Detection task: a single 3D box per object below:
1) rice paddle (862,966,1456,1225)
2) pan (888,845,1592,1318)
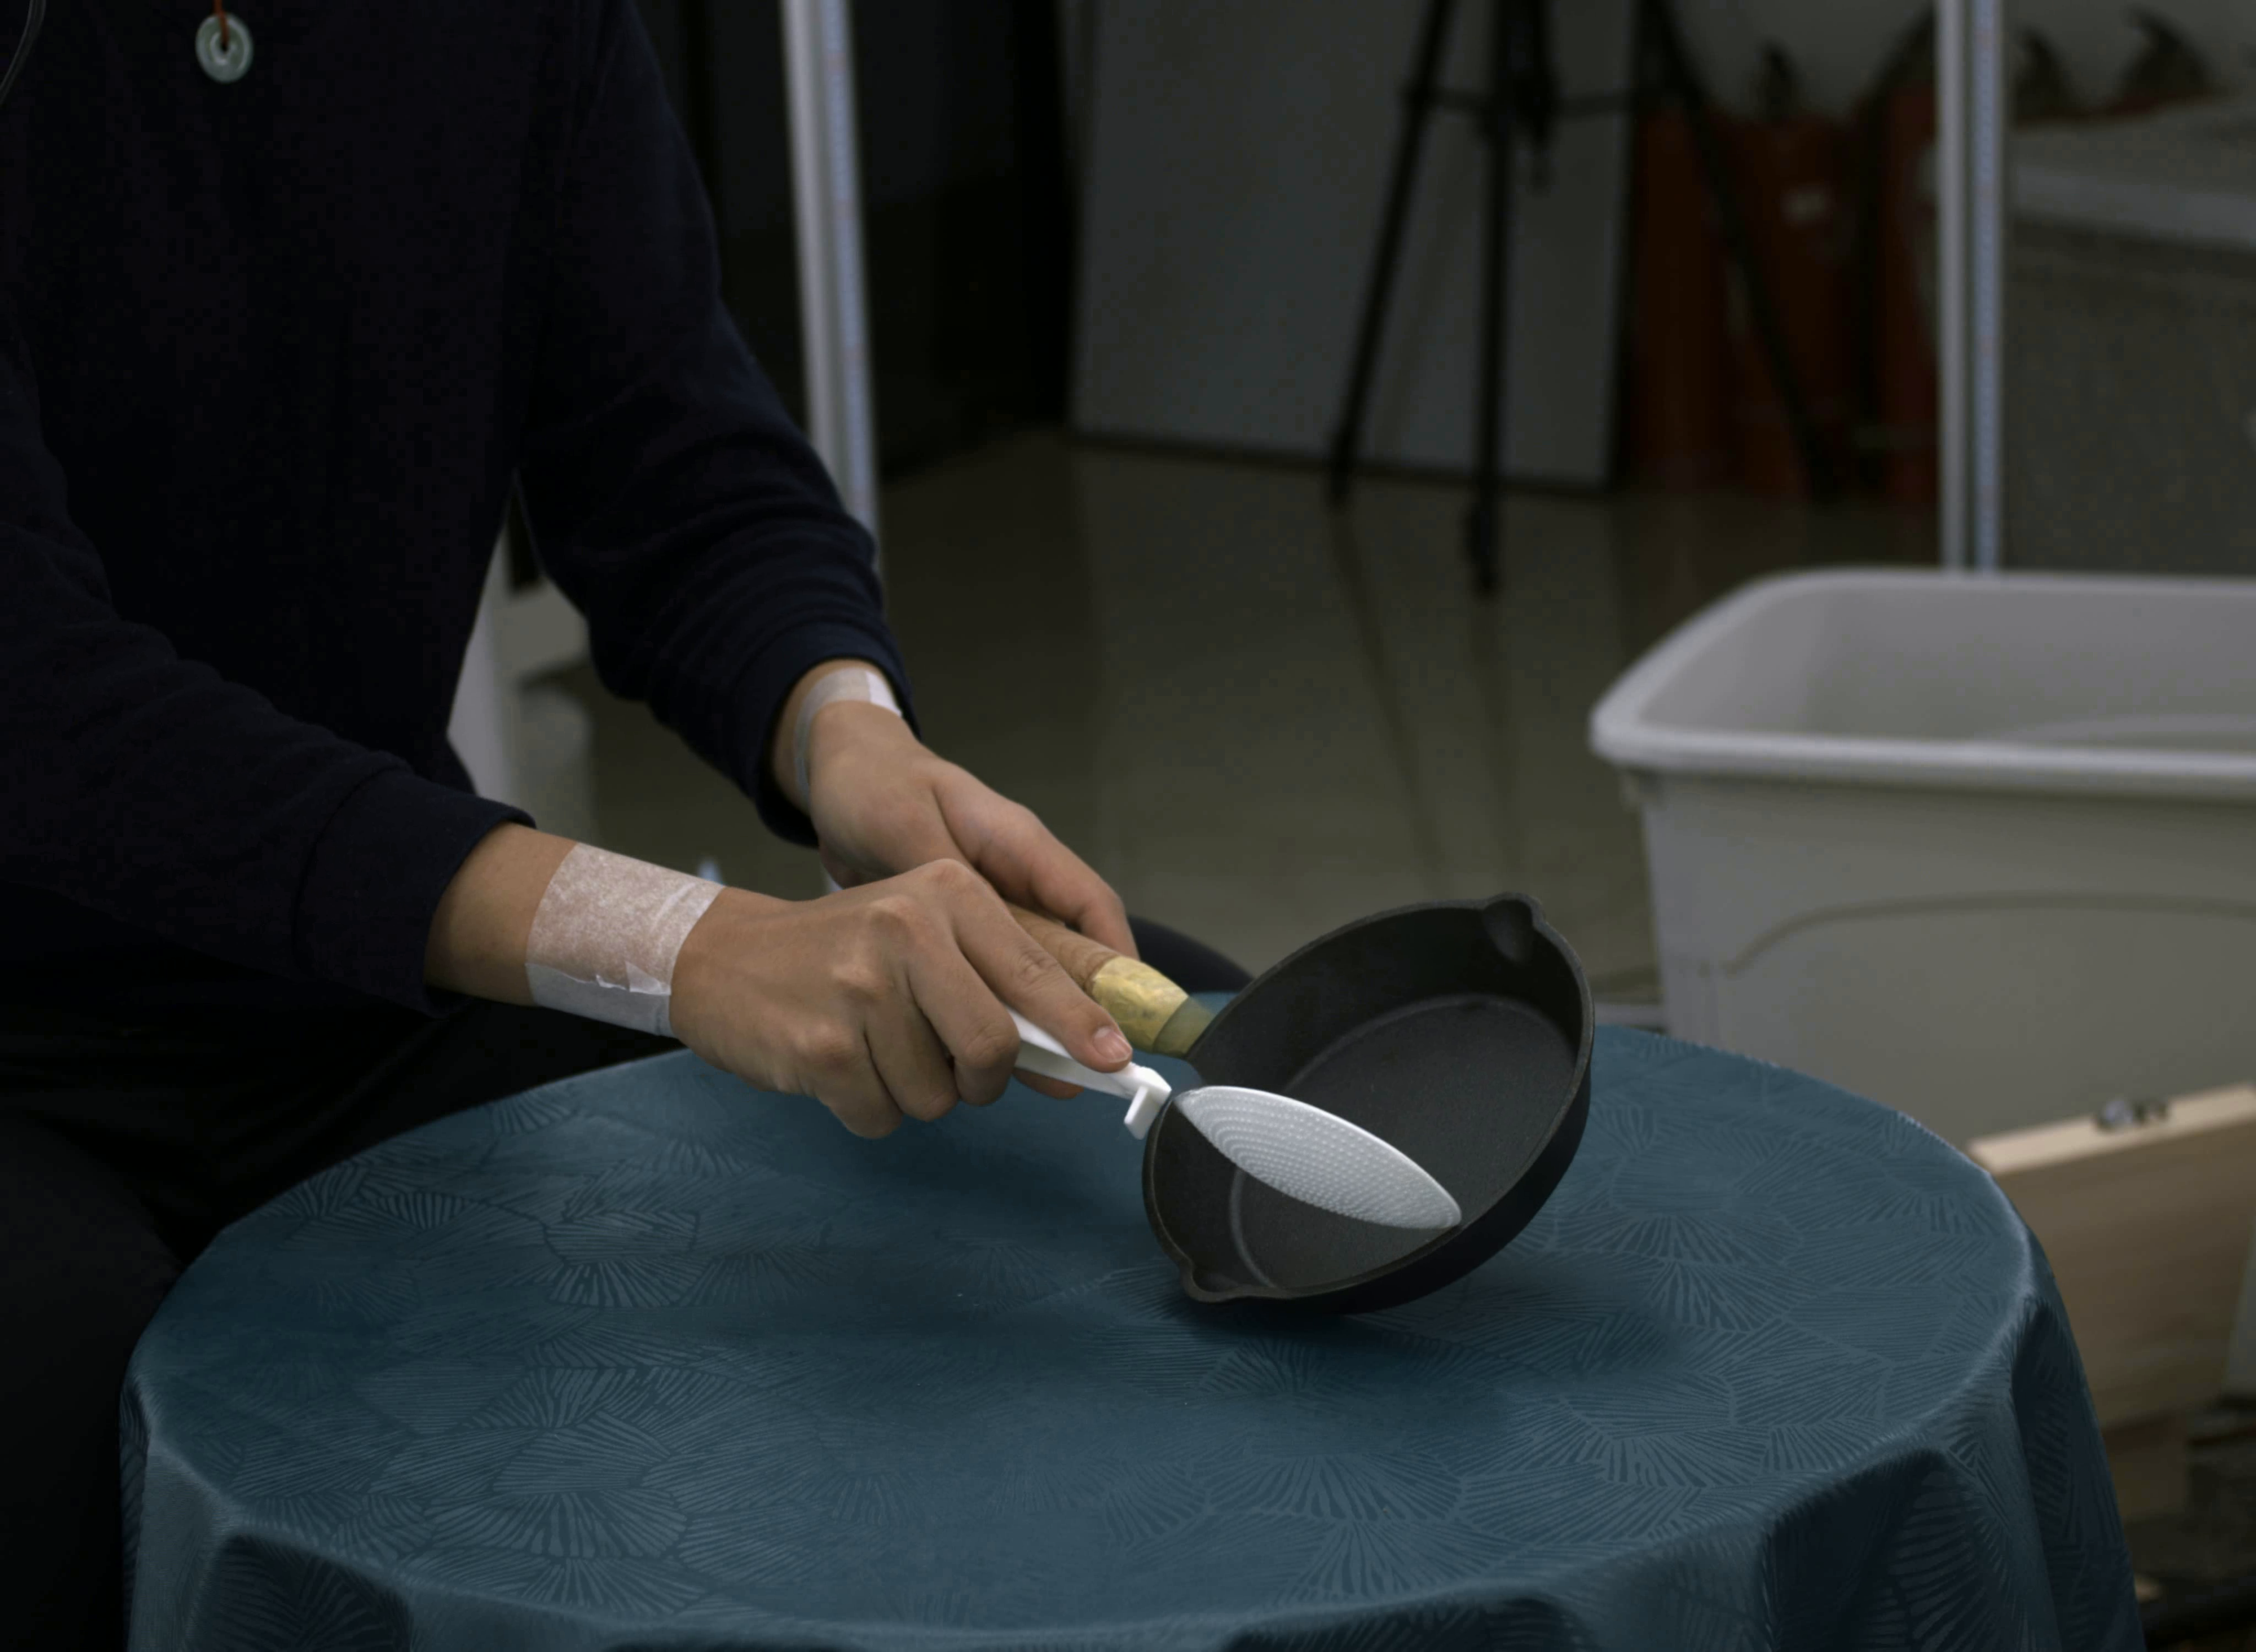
[{"bbox_3d":[0.011,0.083,1.629,0.206,0.029,0.068,16,-23,30],"label":"rice paddle"},{"bbox_3d":[0.026,0.065,1.724,0.168,0.049,0.328,-49,38,-15],"label":"pan"}]
